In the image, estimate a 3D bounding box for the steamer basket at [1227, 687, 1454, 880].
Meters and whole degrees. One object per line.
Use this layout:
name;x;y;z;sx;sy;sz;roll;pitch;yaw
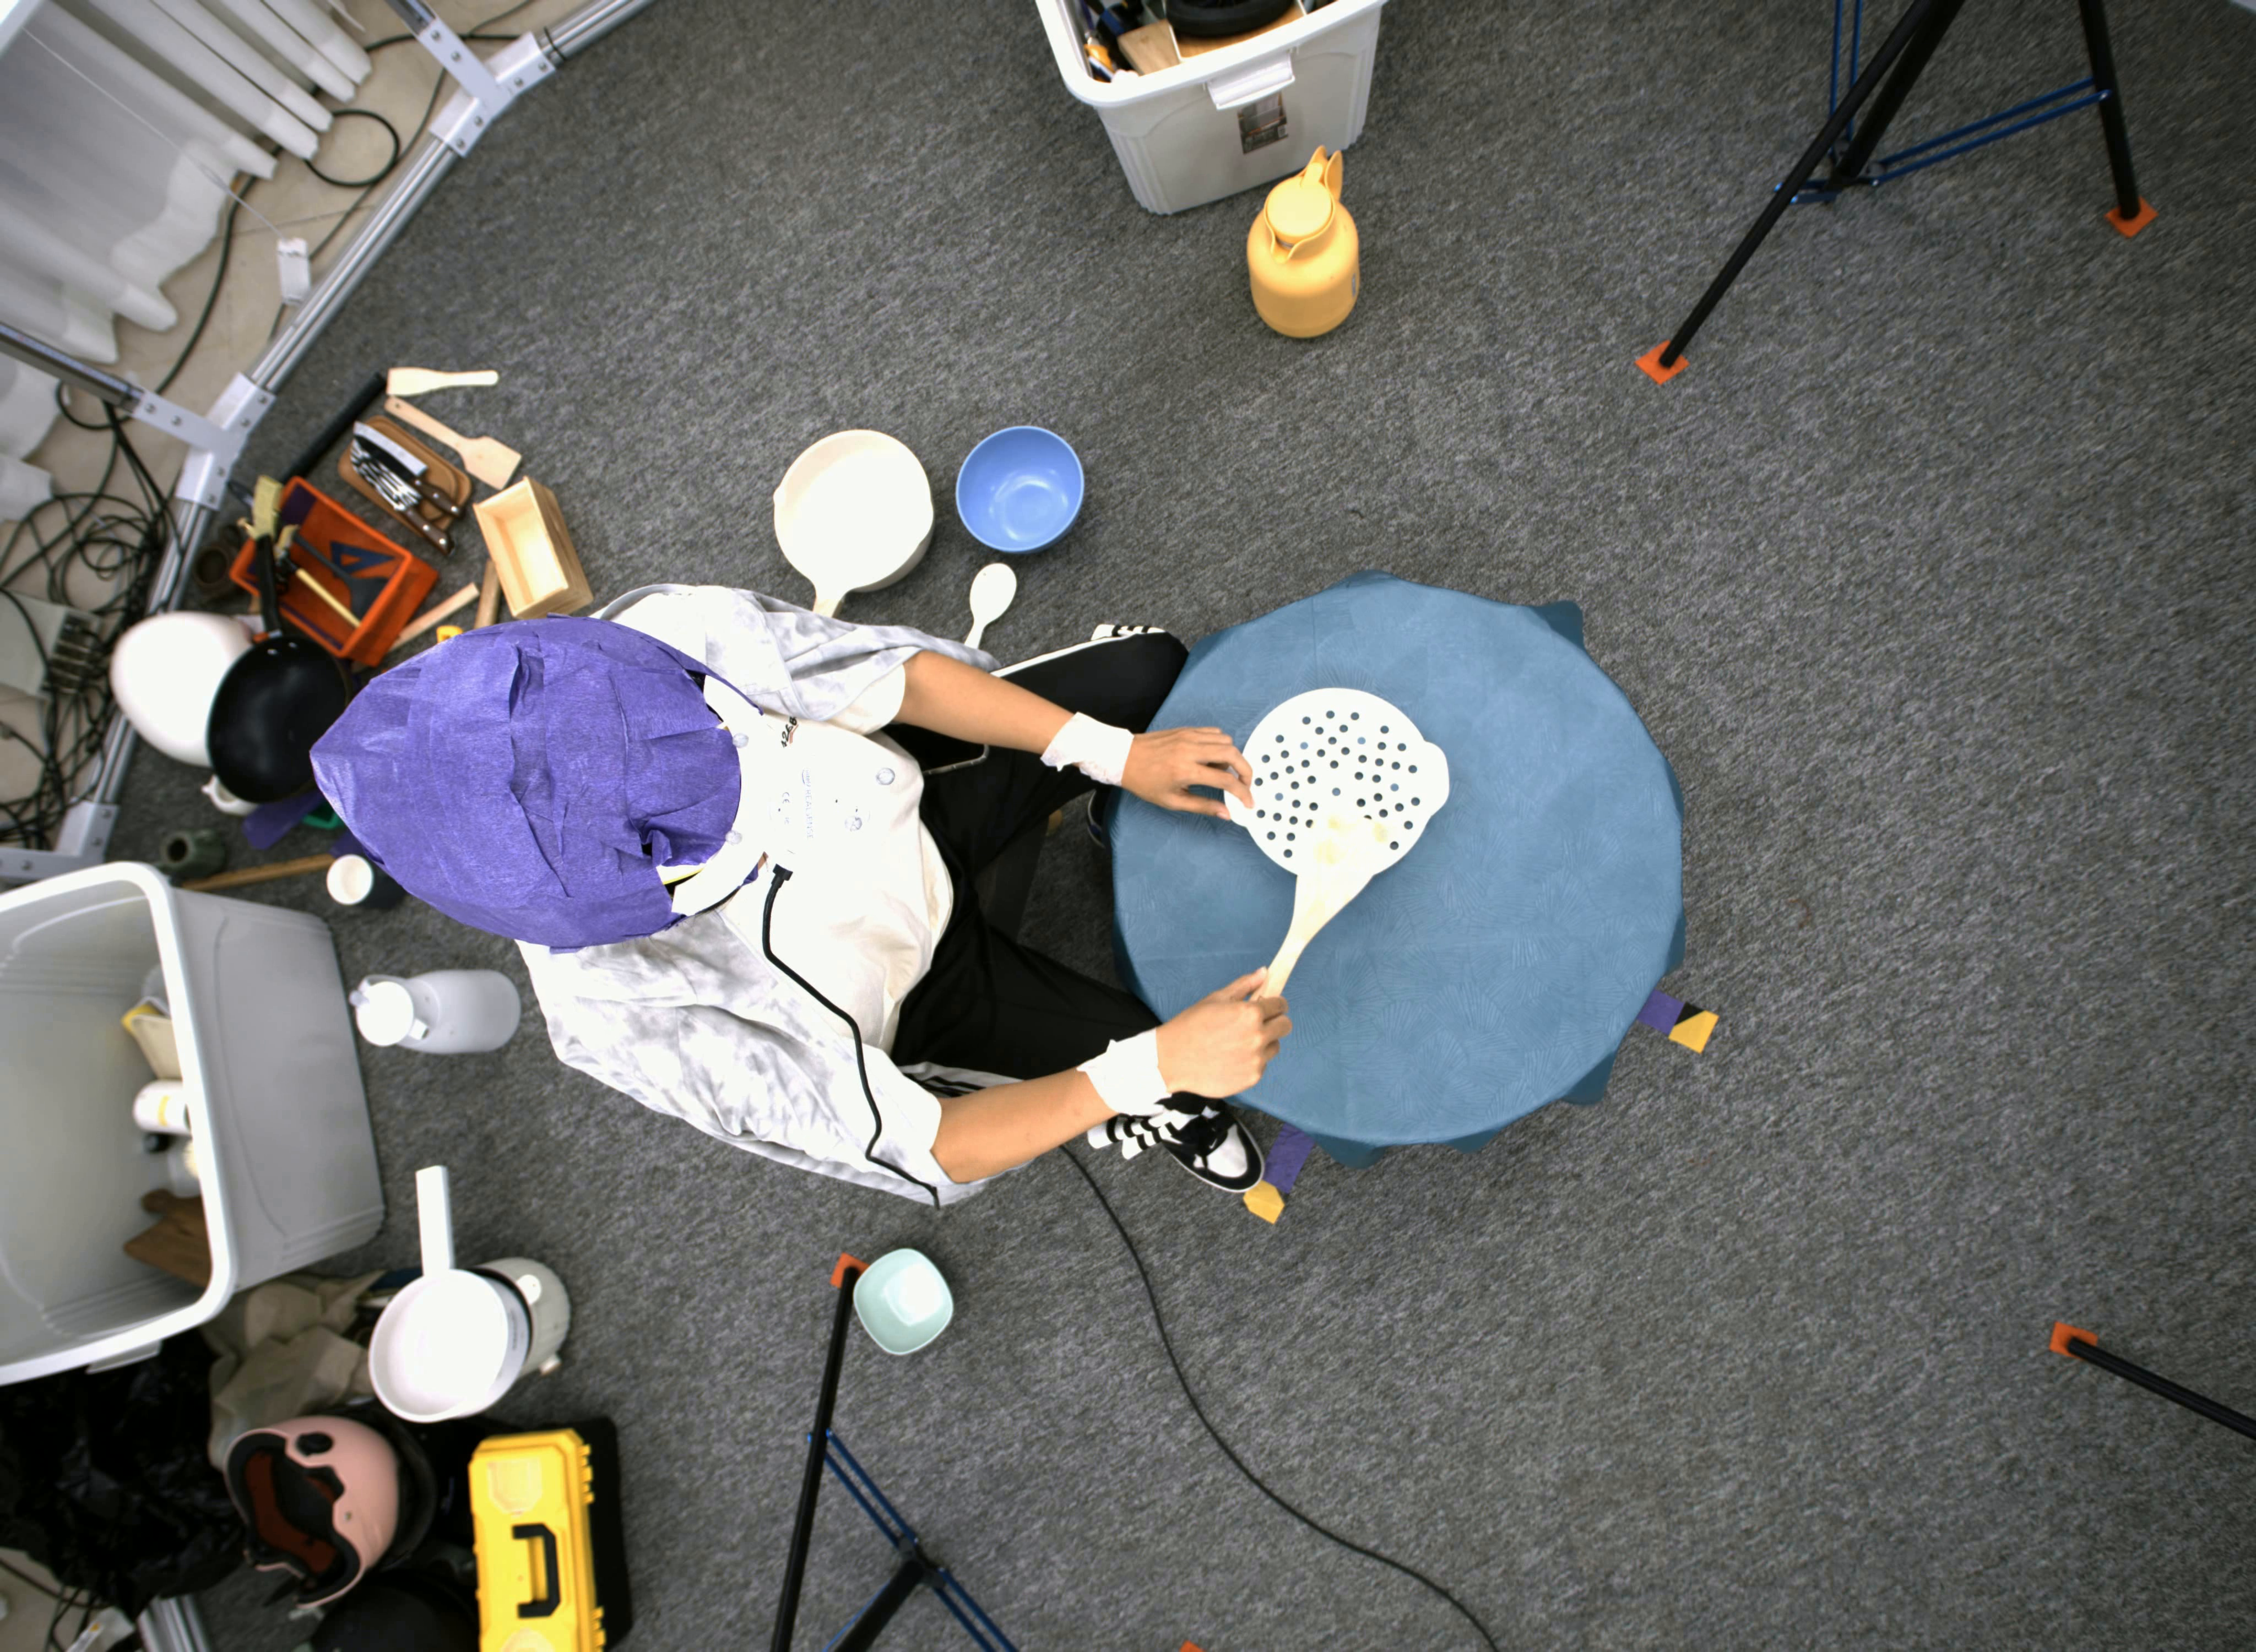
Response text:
steamer basket;0.222;-0.041;1.440;0.231;0.069;0.200;-4;85;11

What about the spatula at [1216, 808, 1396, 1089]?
spatula;0.160;0.109;1.315;0.080;0.017;0.320;25;62;12
